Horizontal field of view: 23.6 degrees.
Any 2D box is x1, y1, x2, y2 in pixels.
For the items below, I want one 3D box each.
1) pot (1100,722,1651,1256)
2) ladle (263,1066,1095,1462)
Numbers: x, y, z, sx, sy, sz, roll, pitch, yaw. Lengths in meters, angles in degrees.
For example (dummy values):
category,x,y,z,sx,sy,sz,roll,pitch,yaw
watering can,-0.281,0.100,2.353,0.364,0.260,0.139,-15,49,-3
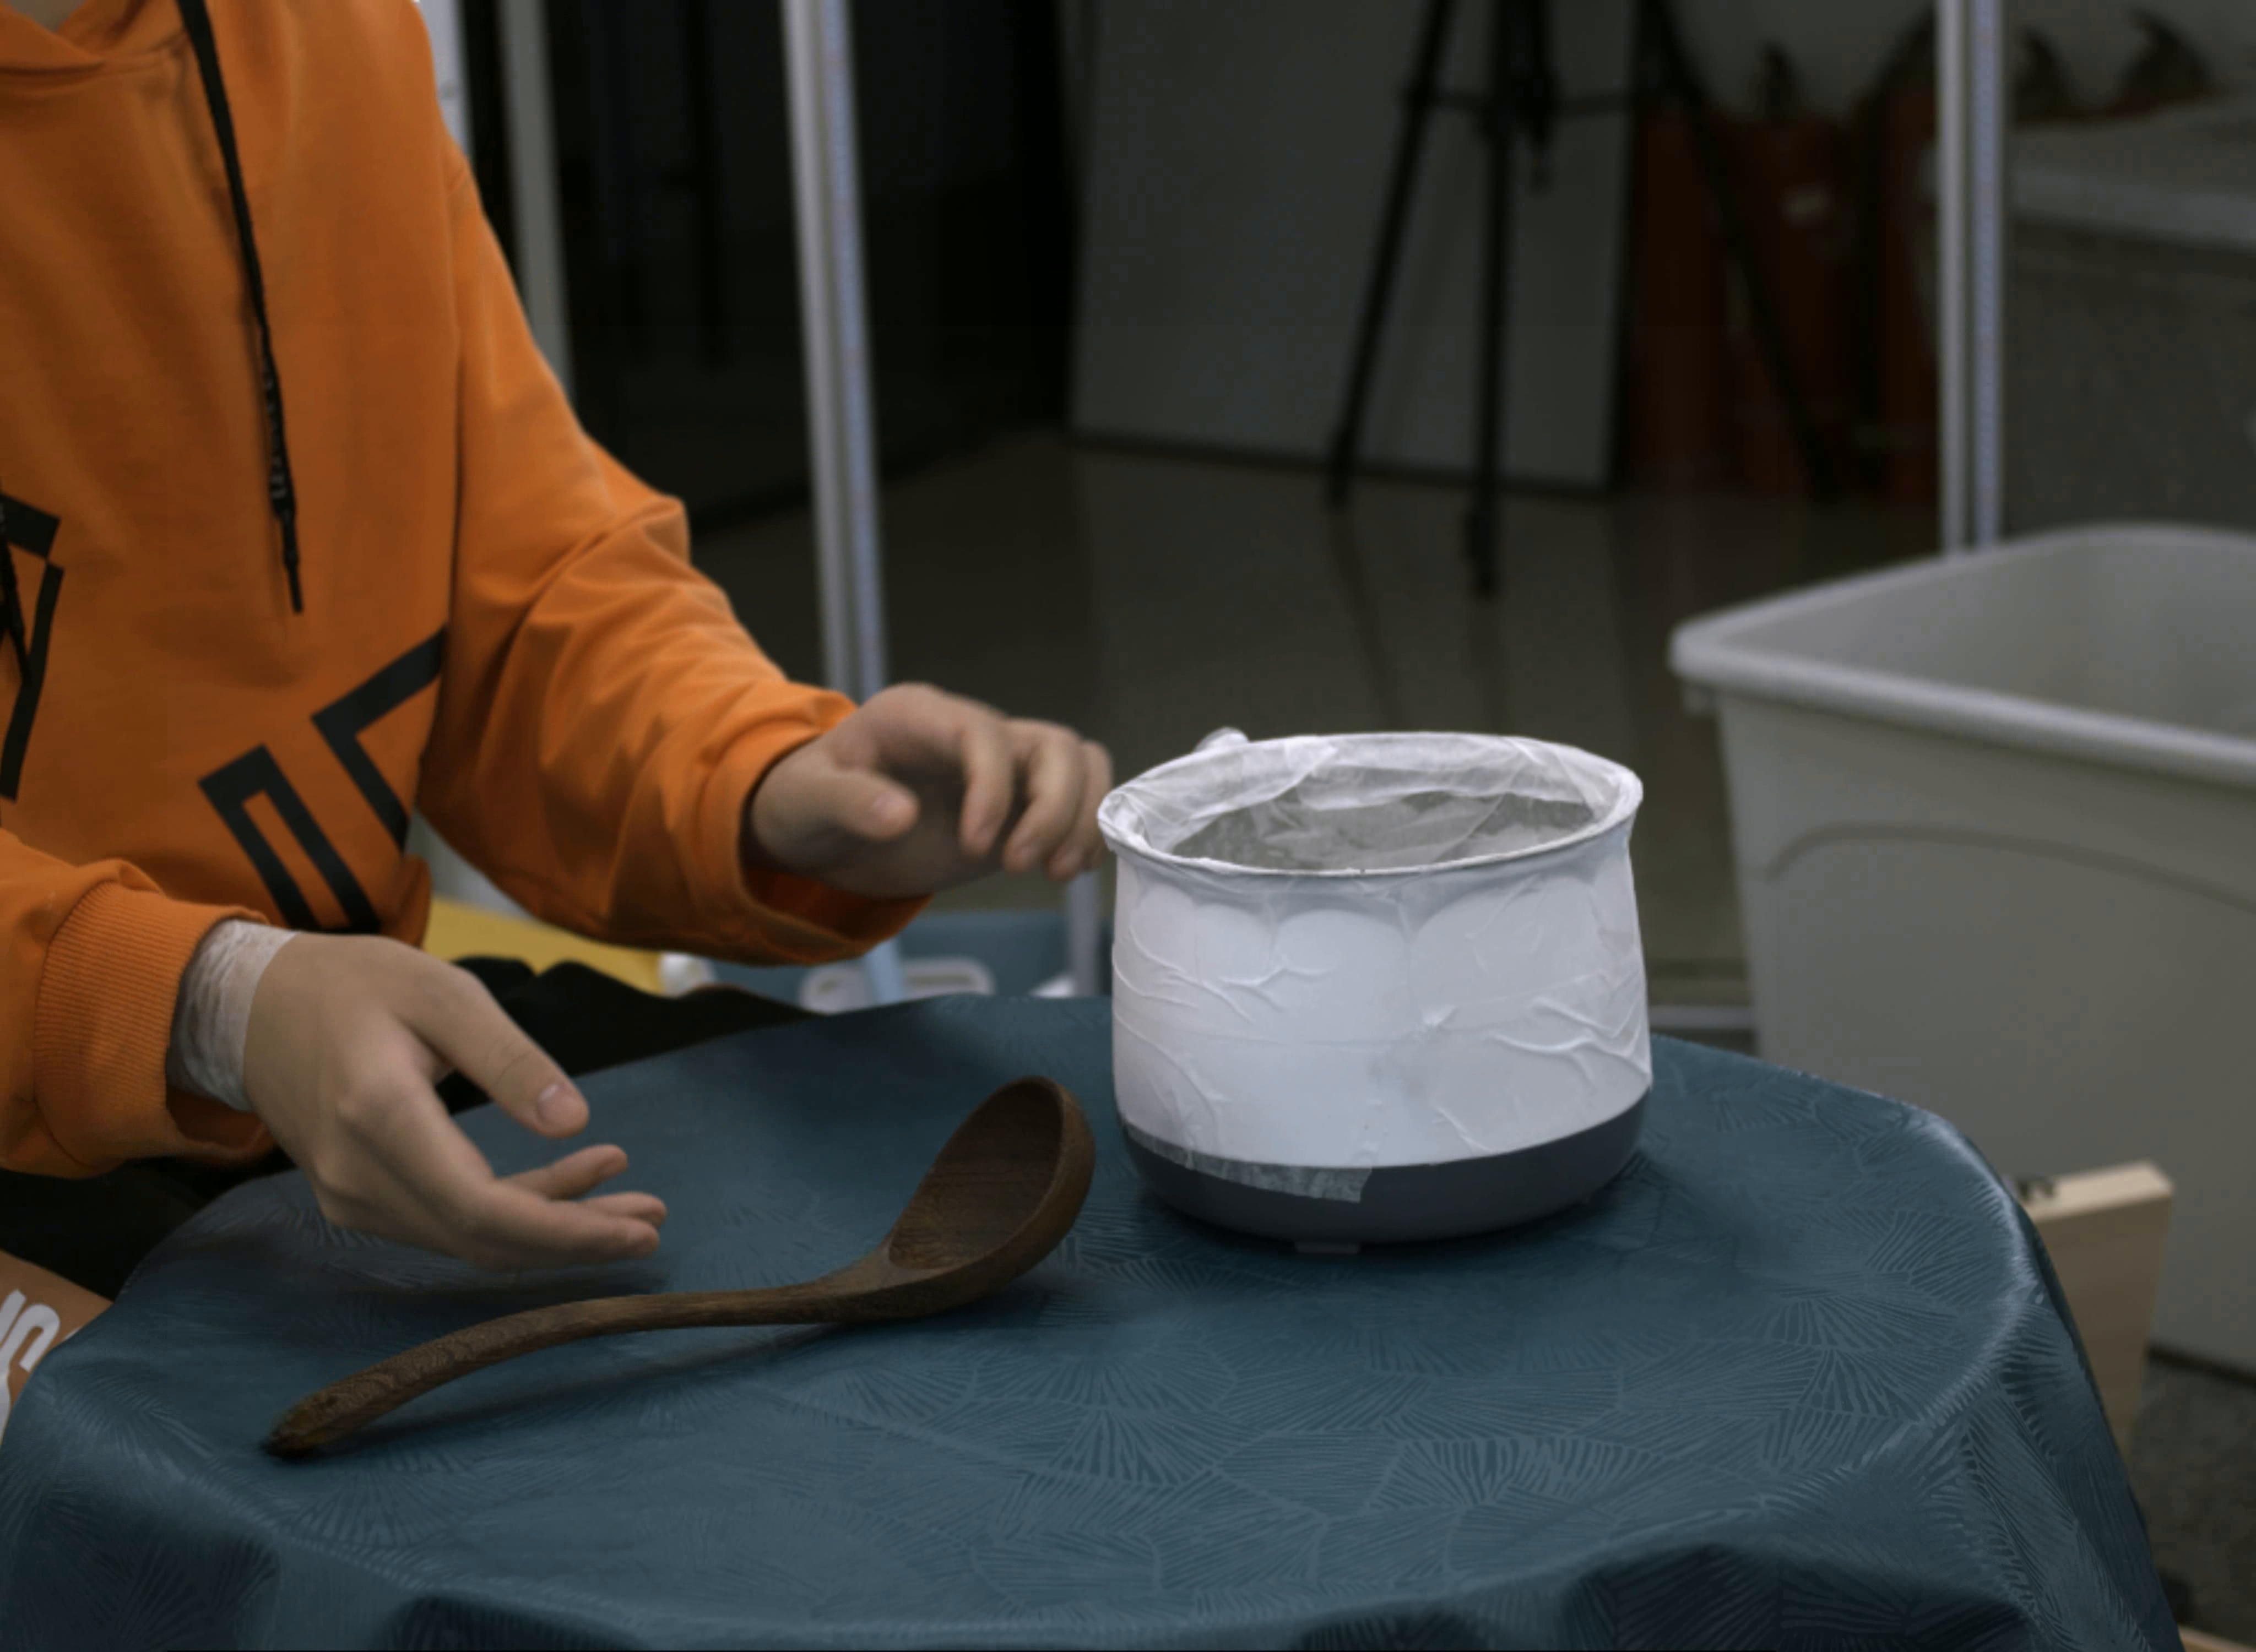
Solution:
category,x,y,z,sx,sy,sz,roll,pitch,yaw
pot,0.068,0.046,1.766,0.175,0.138,0.236,-10,15,-26
ladle,-0.134,0.129,1.629,0.268,0.072,0.077,-10,6,-25
